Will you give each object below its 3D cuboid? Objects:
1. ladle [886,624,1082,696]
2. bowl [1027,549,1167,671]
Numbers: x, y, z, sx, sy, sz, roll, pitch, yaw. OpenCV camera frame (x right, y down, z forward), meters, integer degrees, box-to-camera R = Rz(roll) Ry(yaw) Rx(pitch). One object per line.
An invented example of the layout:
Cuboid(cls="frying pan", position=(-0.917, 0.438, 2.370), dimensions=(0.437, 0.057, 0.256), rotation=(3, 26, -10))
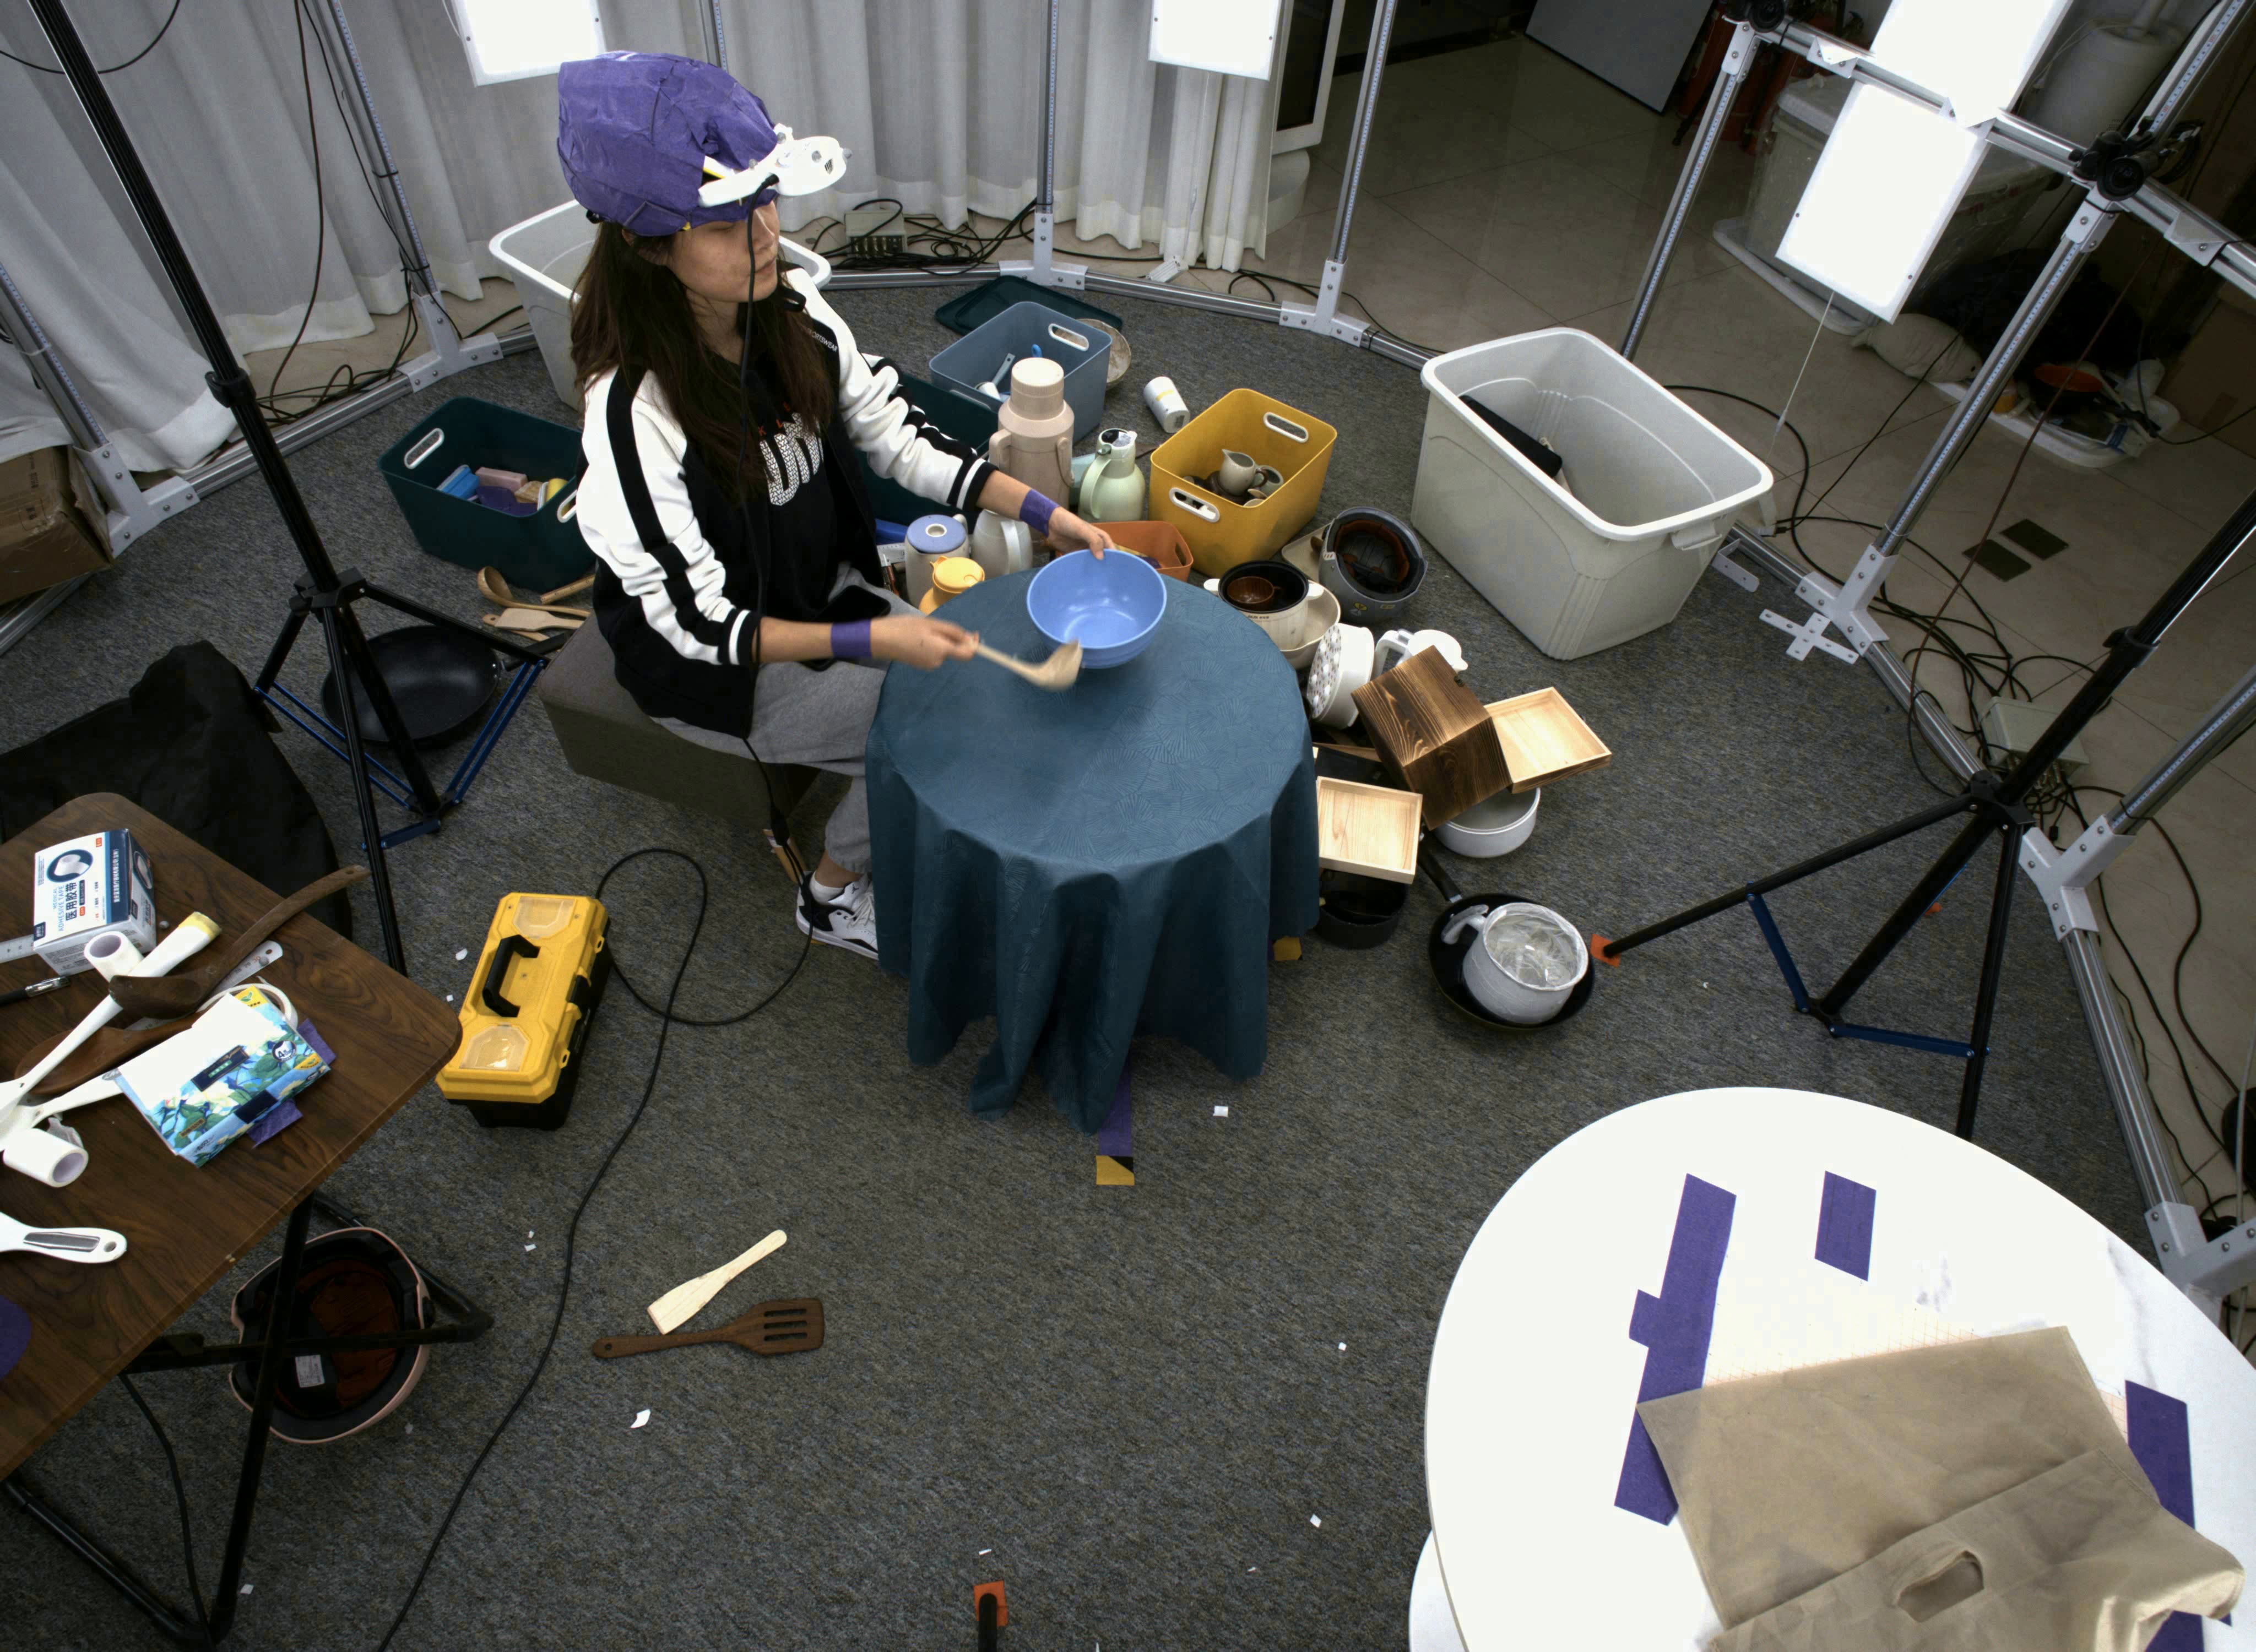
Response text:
Cuboid(cls="ladle", position=(-0.184, -0.239, 1.673), dimensions=(0.253, 0.071, 0.074), rotation=(20, 42, -8))
Cuboid(cls="bowl", position=(-0.043, -0.293, 1.836), dimensions=(0.196, 0.093, 0.201), rotation=(-1, 54, 1))
